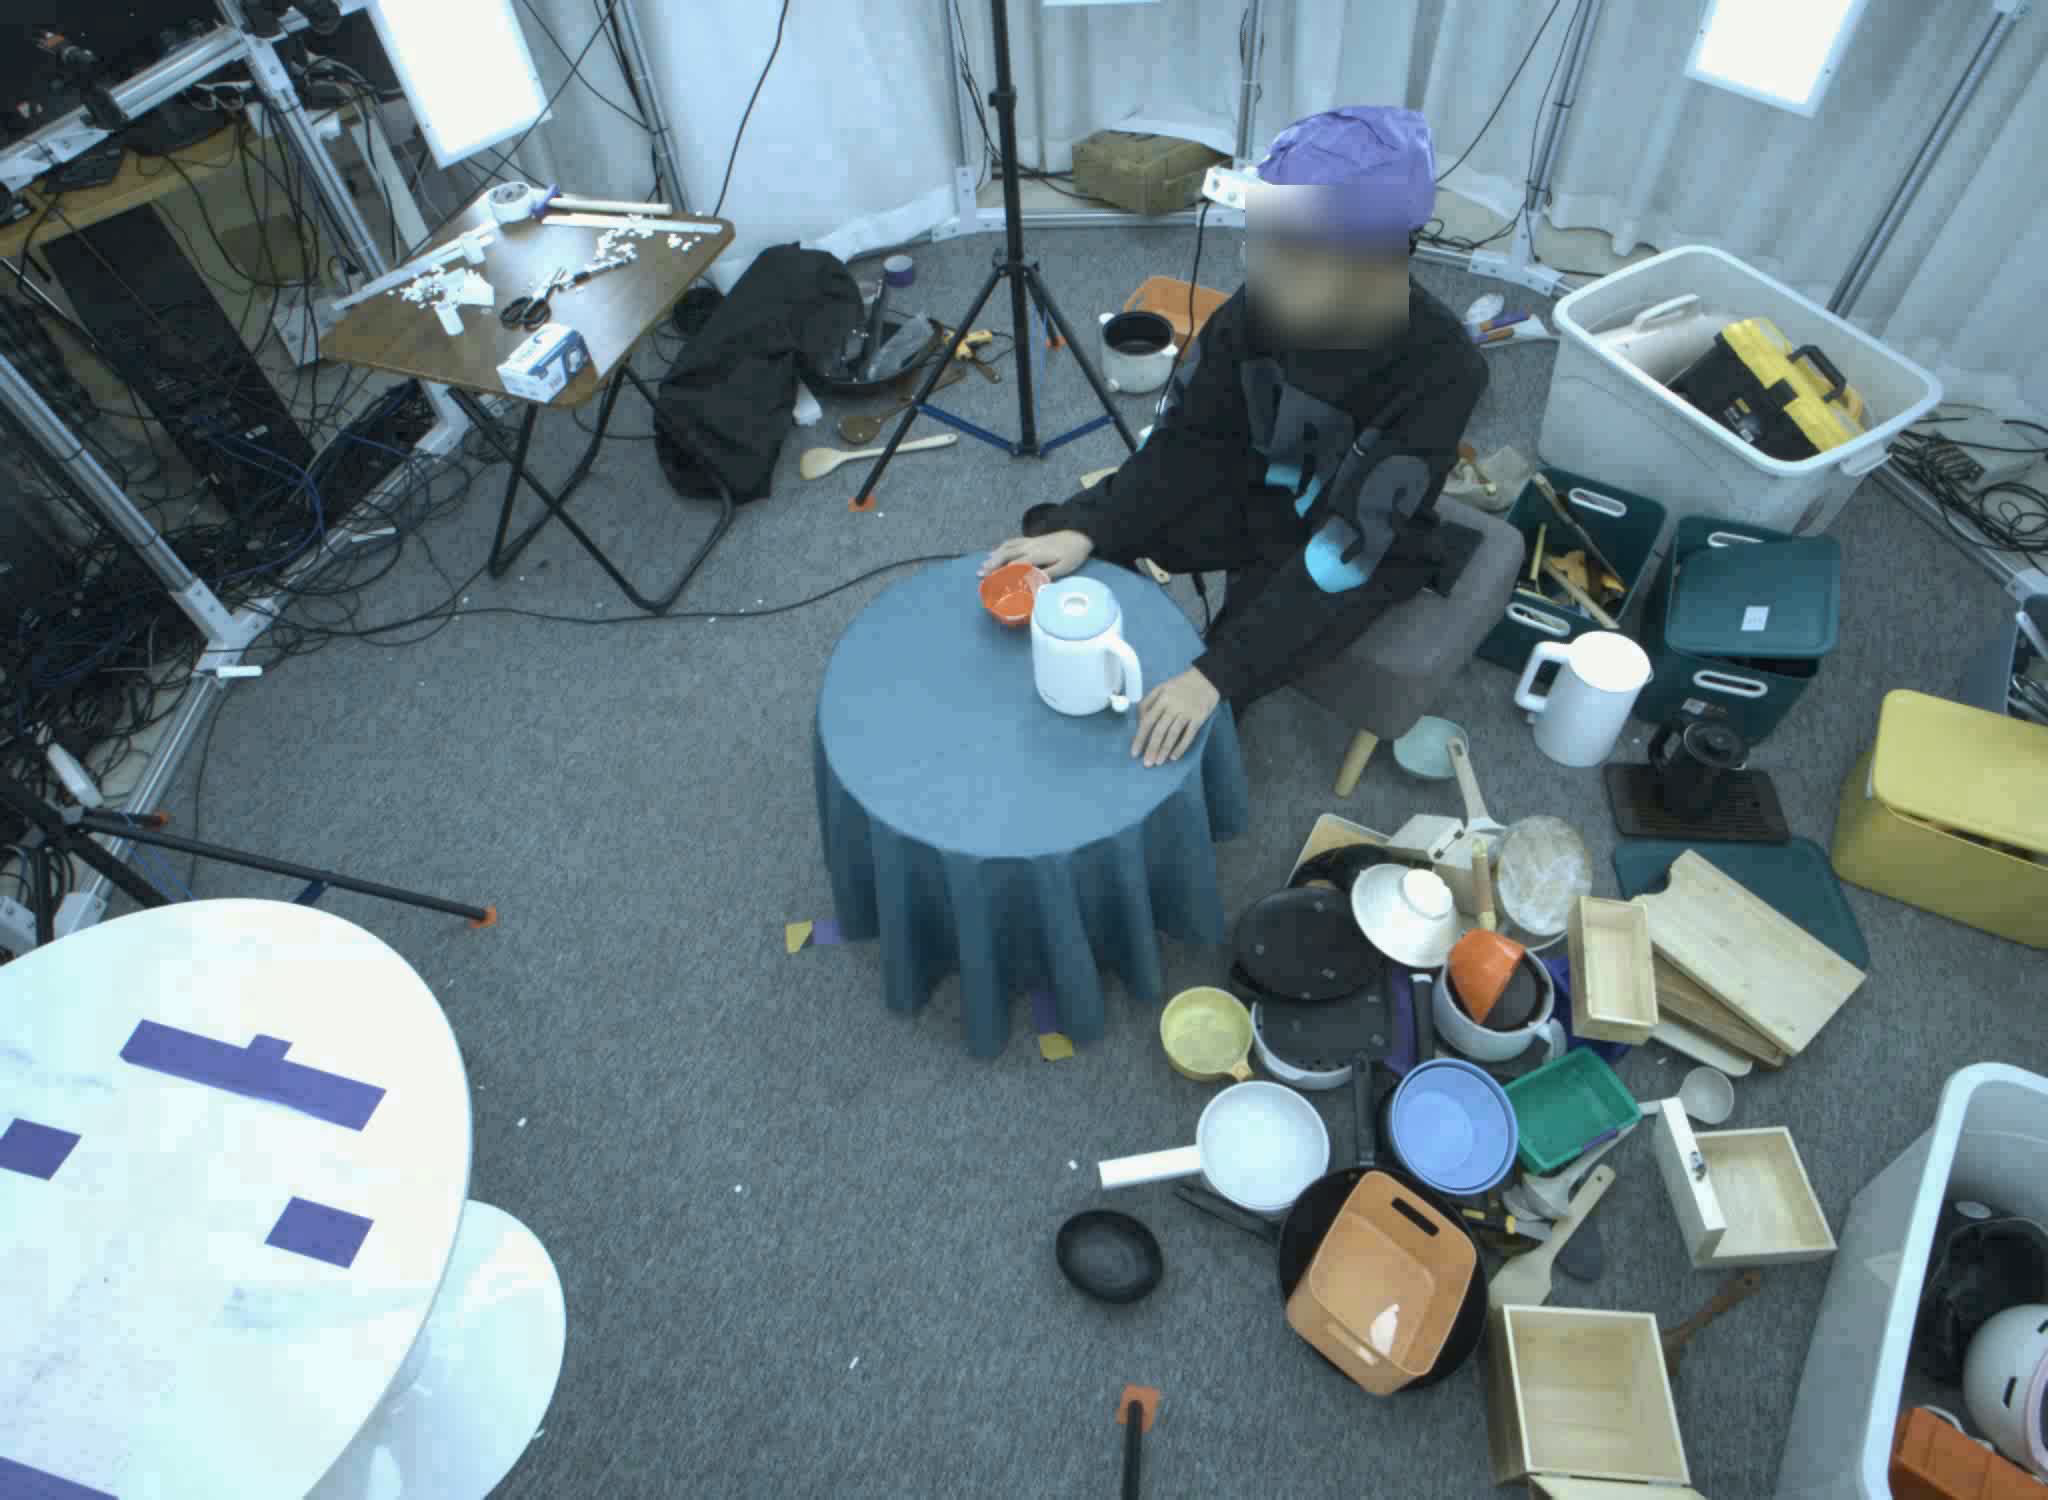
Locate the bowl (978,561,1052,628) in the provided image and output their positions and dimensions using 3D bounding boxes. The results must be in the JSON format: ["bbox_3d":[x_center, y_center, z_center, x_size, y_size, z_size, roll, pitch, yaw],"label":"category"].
[{"bbox_3d":[-0.010,-0.236,1.918,0.118,0.052,0.117,-2,54,4],"label":"bowl"}]

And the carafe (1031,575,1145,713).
[{"bbox_3d":[0.096,-0.139,1.774,0.188,0.184,0.133,35,65,22],"label":"carafe"}]
